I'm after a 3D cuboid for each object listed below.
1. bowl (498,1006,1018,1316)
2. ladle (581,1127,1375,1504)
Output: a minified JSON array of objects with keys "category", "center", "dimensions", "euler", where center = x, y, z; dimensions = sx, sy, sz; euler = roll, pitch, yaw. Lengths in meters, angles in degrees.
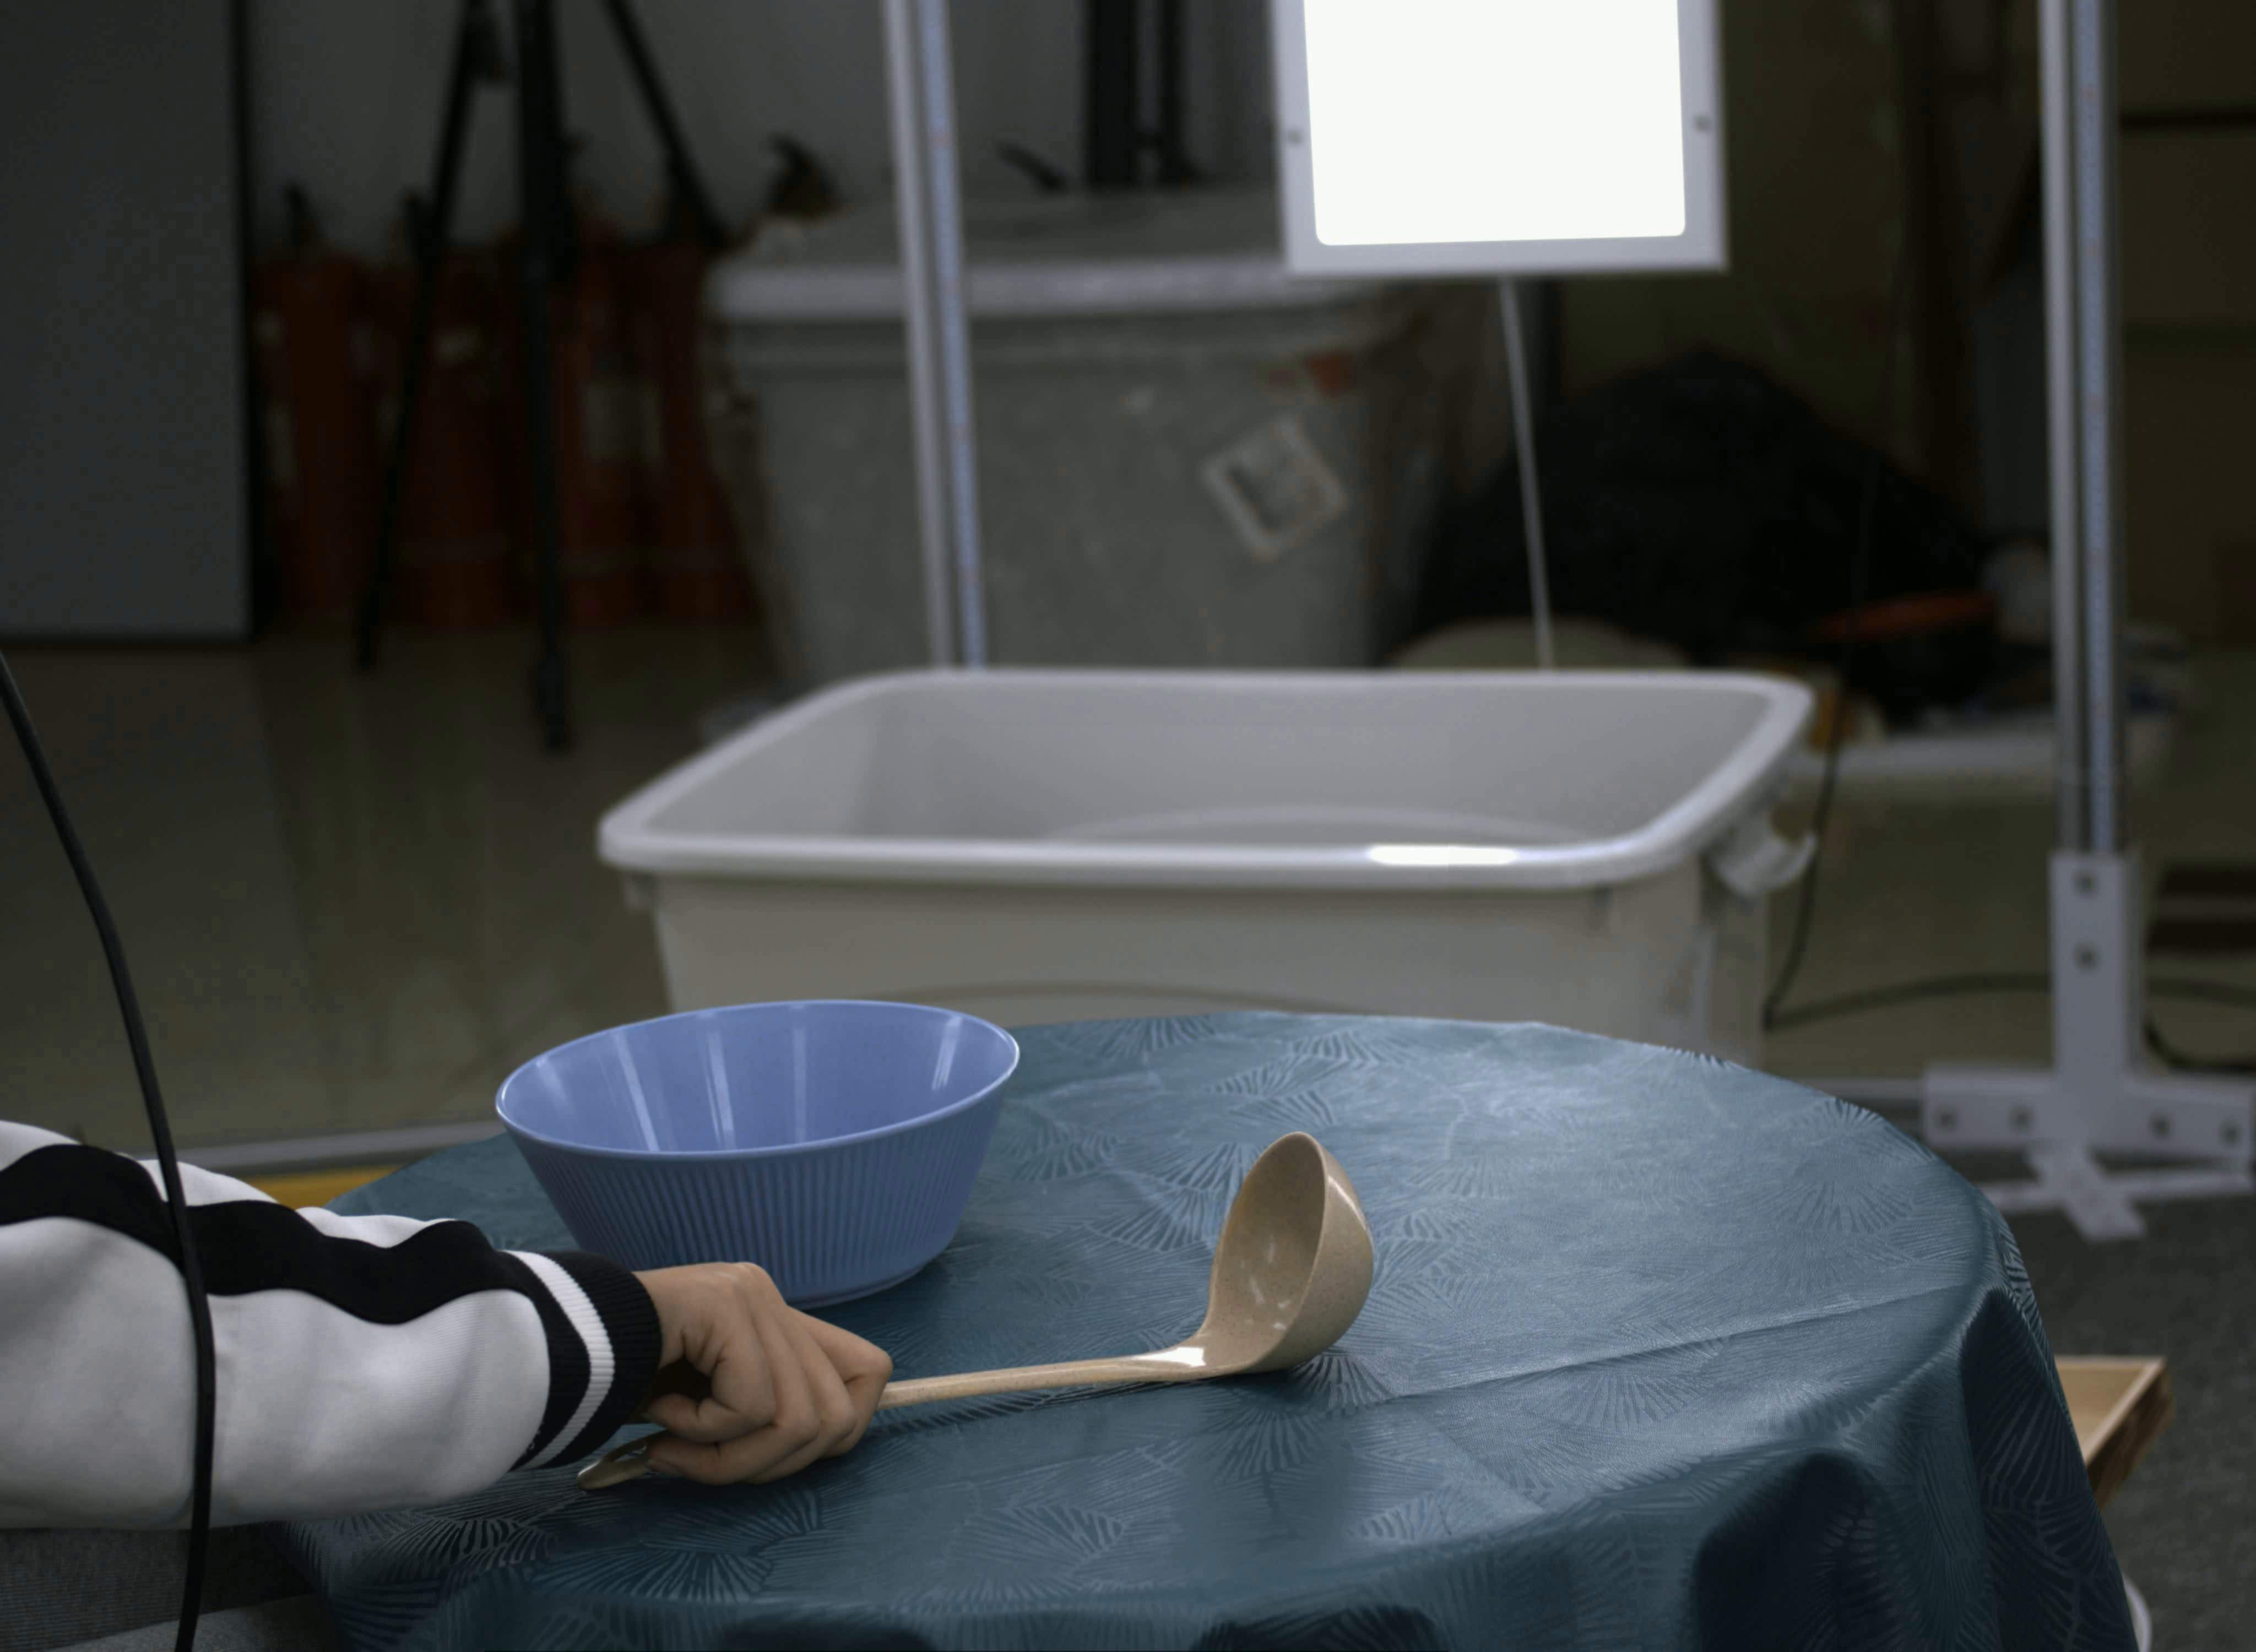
[{"category":"bowl","center":[-0.121,0.115,1.845],"dimensions":[0.175,0.070,0.176],"euler":[-5,13,0]},{"category":"ladle","center":[-0.047,0.147,1.680],"dimensions":[0.250,0.073,0.073],"euler":[-10,19,-16]}]
